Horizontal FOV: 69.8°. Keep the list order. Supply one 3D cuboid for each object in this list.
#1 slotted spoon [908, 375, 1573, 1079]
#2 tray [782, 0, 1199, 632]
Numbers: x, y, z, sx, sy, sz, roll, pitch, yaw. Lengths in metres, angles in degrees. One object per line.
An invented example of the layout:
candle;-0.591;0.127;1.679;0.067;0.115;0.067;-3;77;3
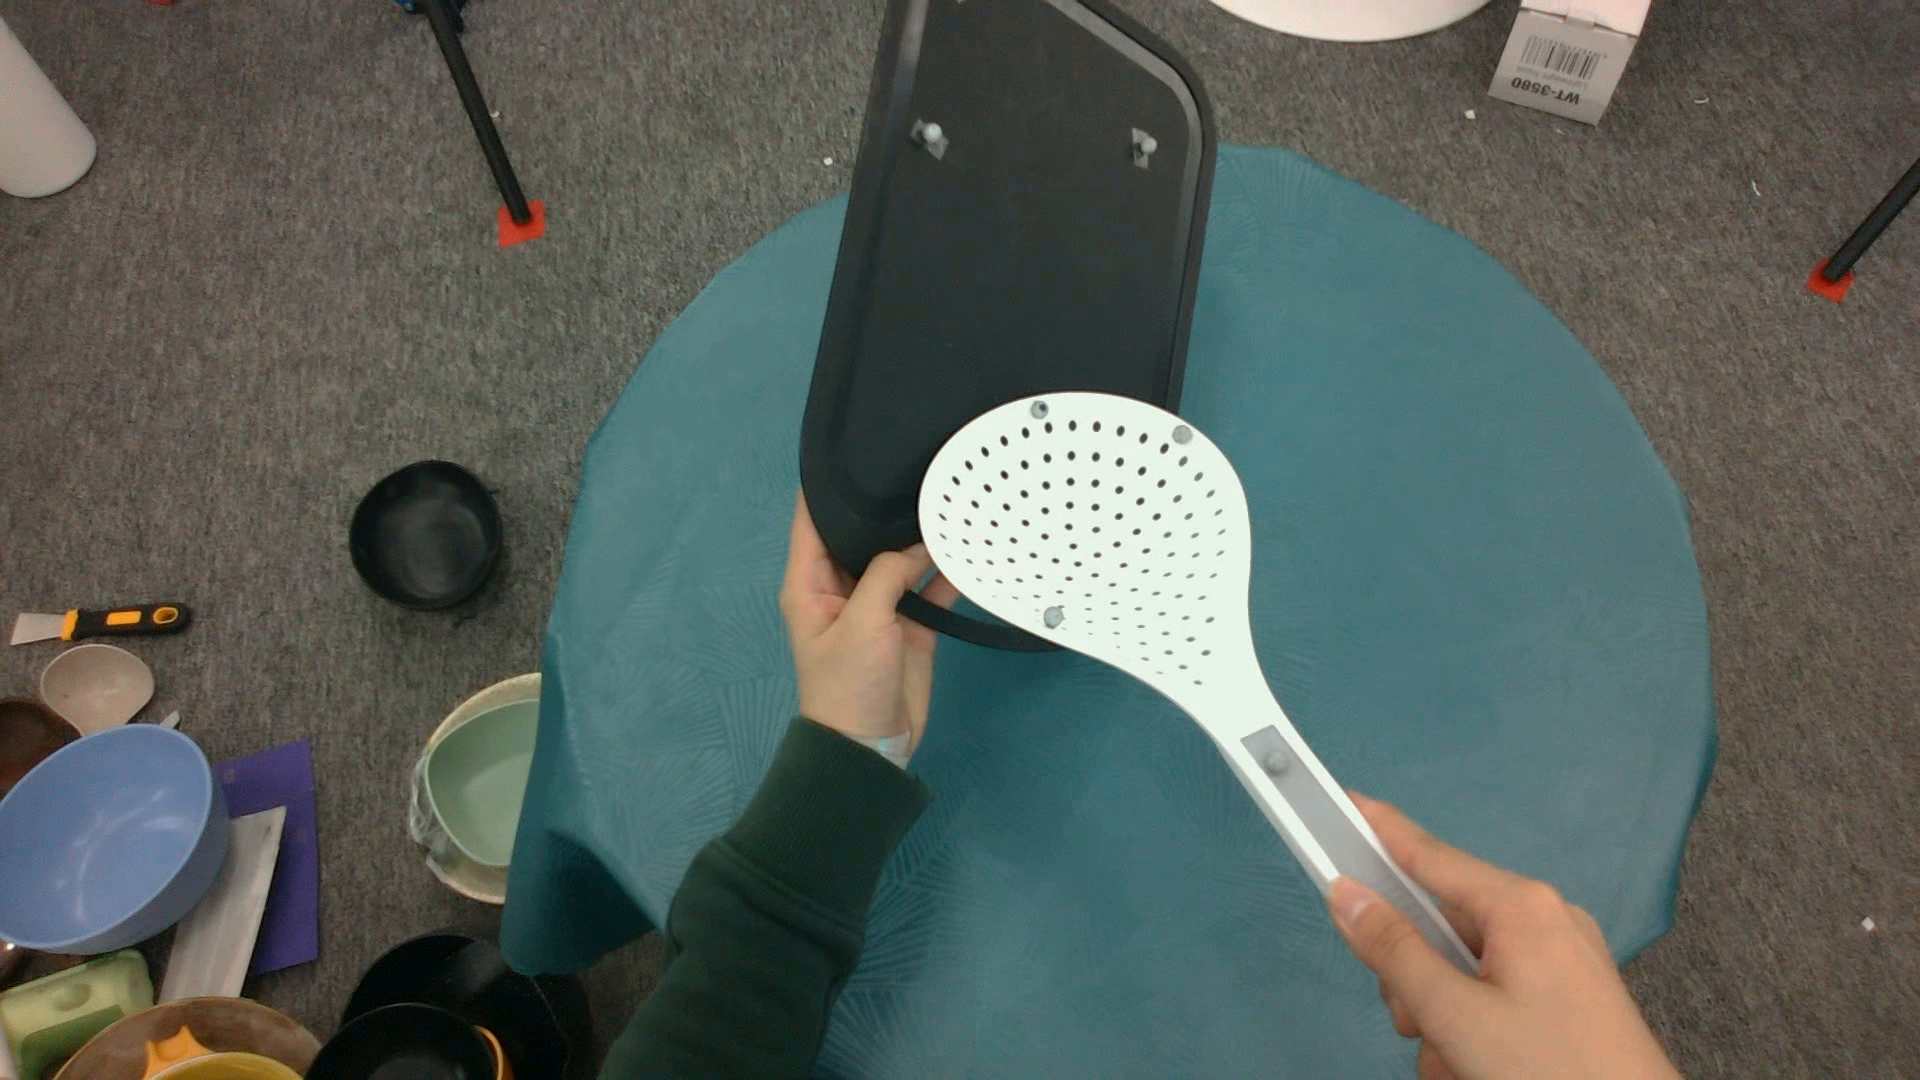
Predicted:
slotted spoon;0.096;0.055;0.516;0.136;0.045;0.350;-22;48;-17
tray;0.026;-0.120;0.640;0.211;0.010;0.326;19;75;-36
